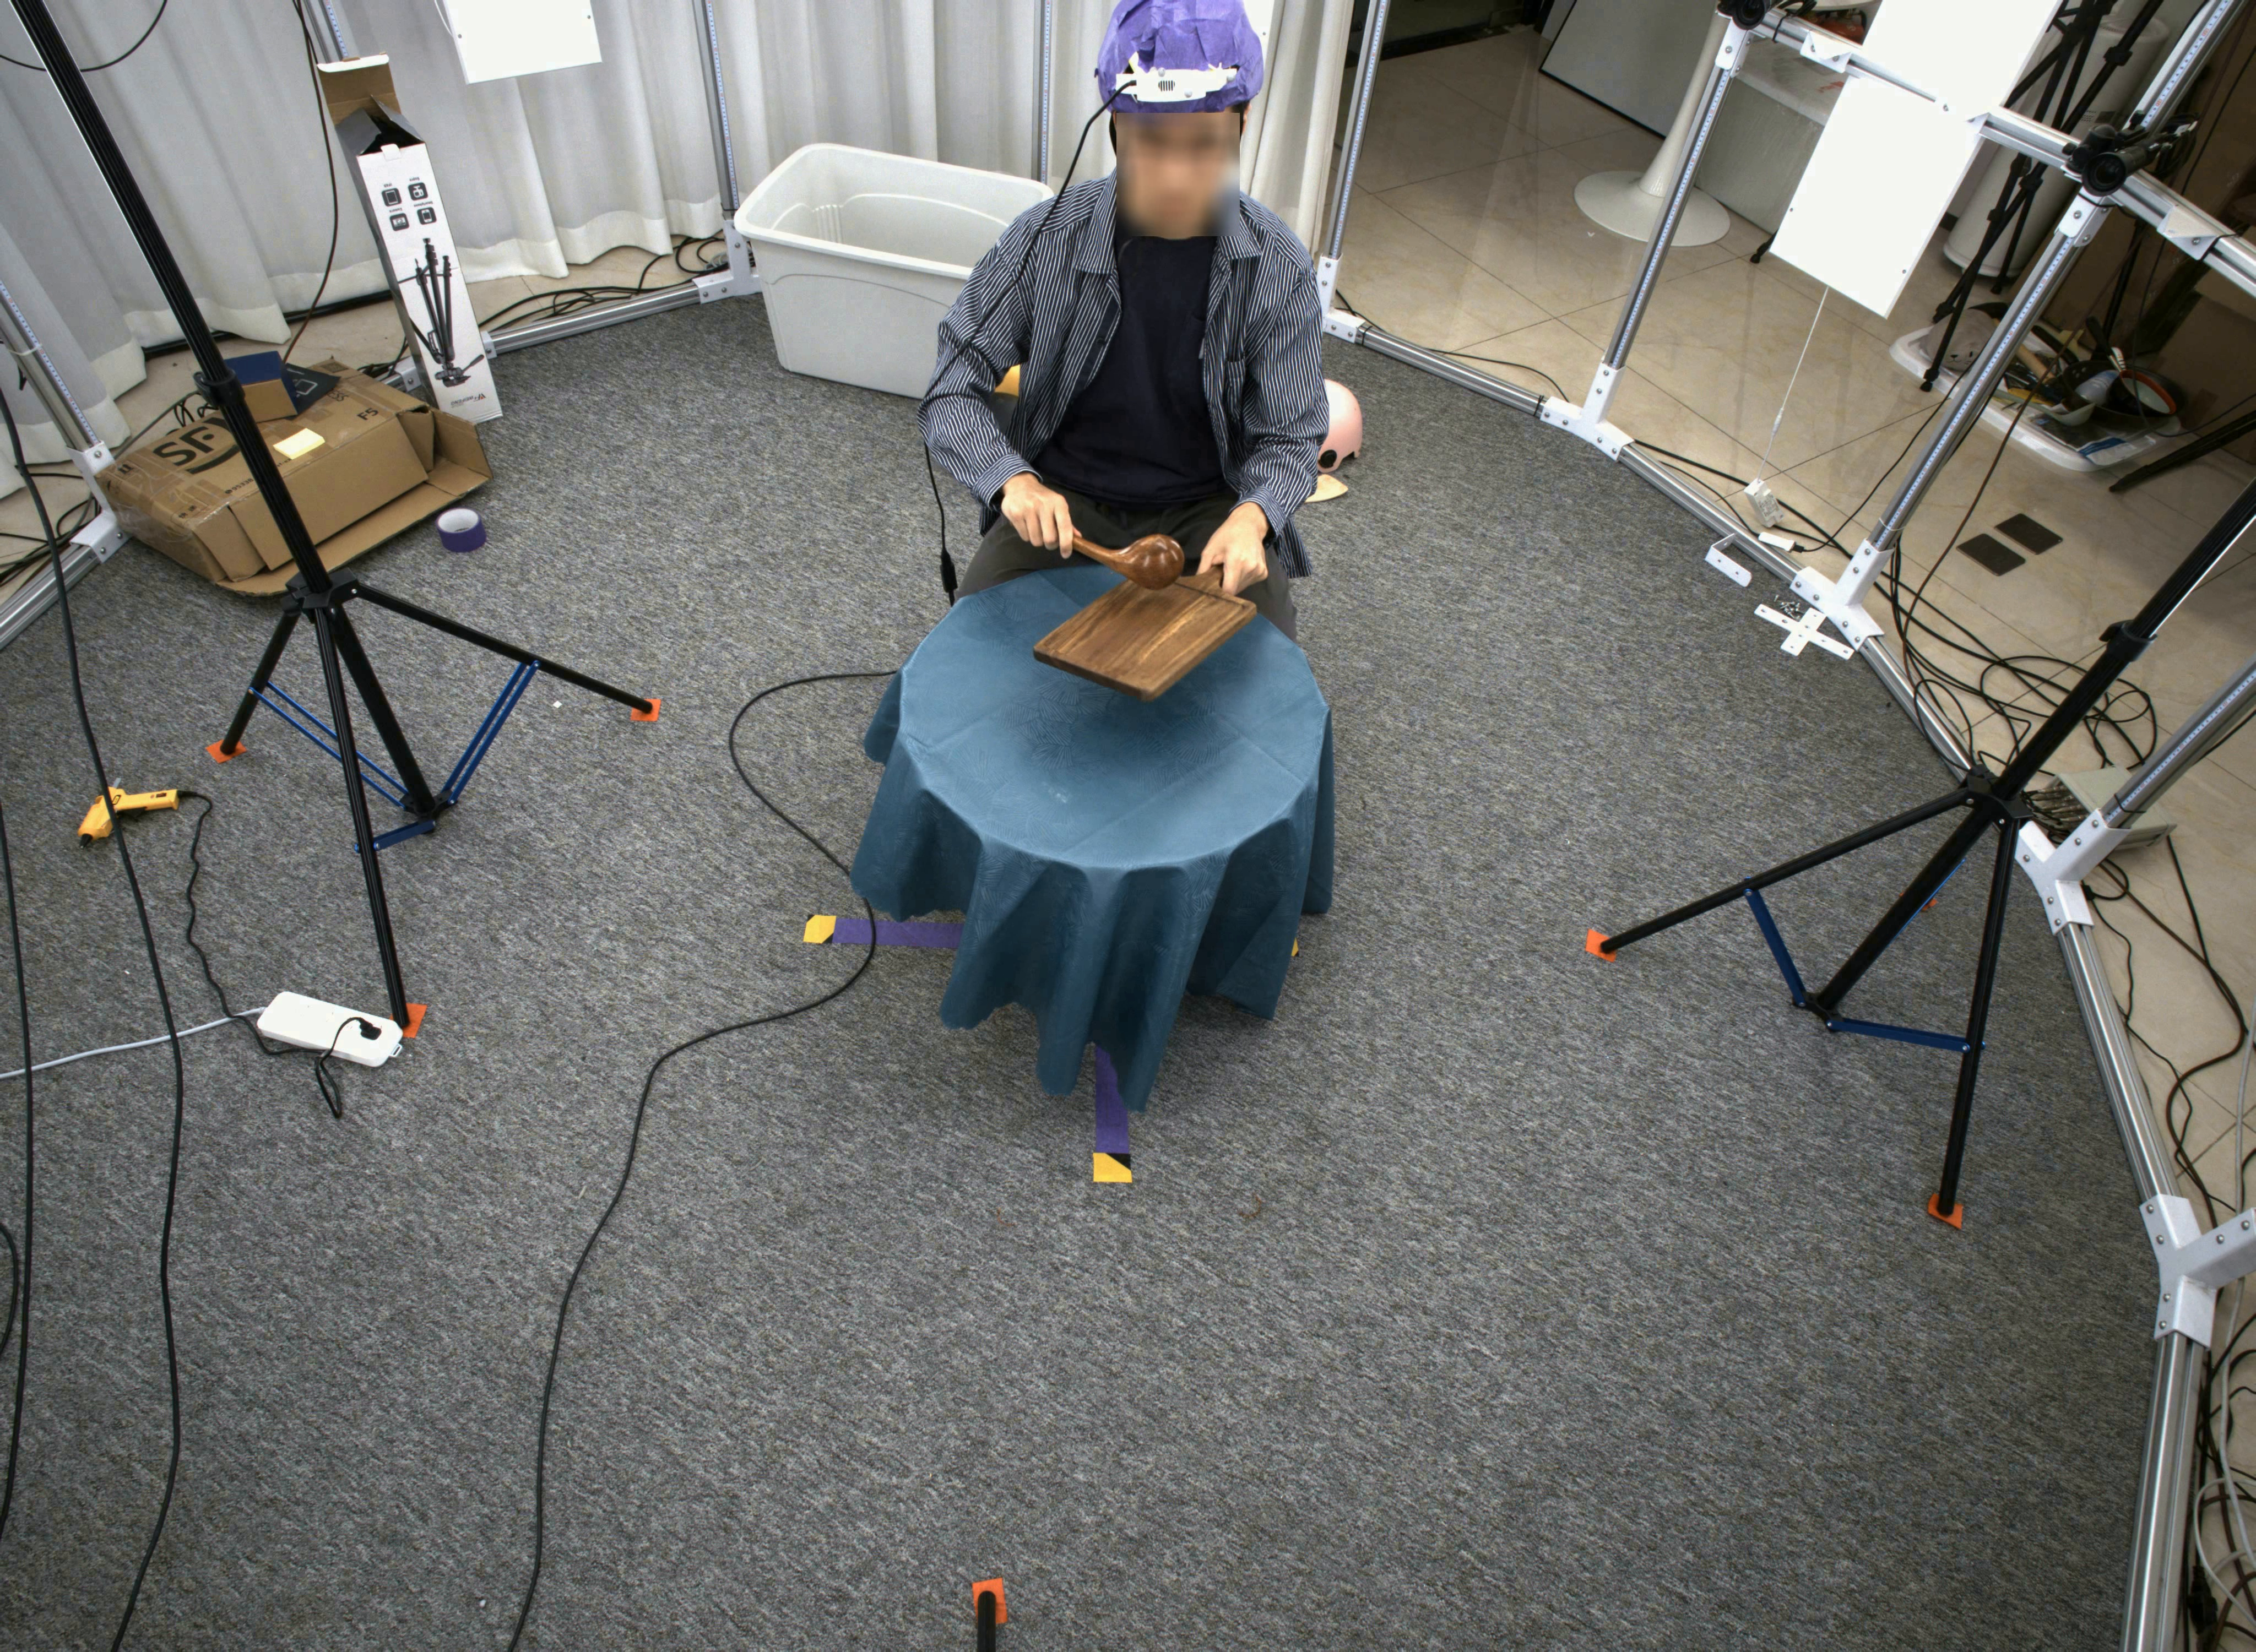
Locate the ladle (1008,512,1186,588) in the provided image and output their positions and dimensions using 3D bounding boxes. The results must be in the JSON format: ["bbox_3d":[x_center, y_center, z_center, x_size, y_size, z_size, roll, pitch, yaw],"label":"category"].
[{"bbox_3d":[-0.042,-0.402,1.795,0.278,0.080,0.077,28,41,31],"label":"ladle"}]

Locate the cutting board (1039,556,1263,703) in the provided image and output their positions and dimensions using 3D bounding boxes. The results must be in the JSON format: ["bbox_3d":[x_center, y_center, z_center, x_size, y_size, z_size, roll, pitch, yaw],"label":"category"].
[{"bbox_3d":[0.063,-0.283,1.734,0.203,0.022,0.356,23,46,30],"label":"cutting board"}]
